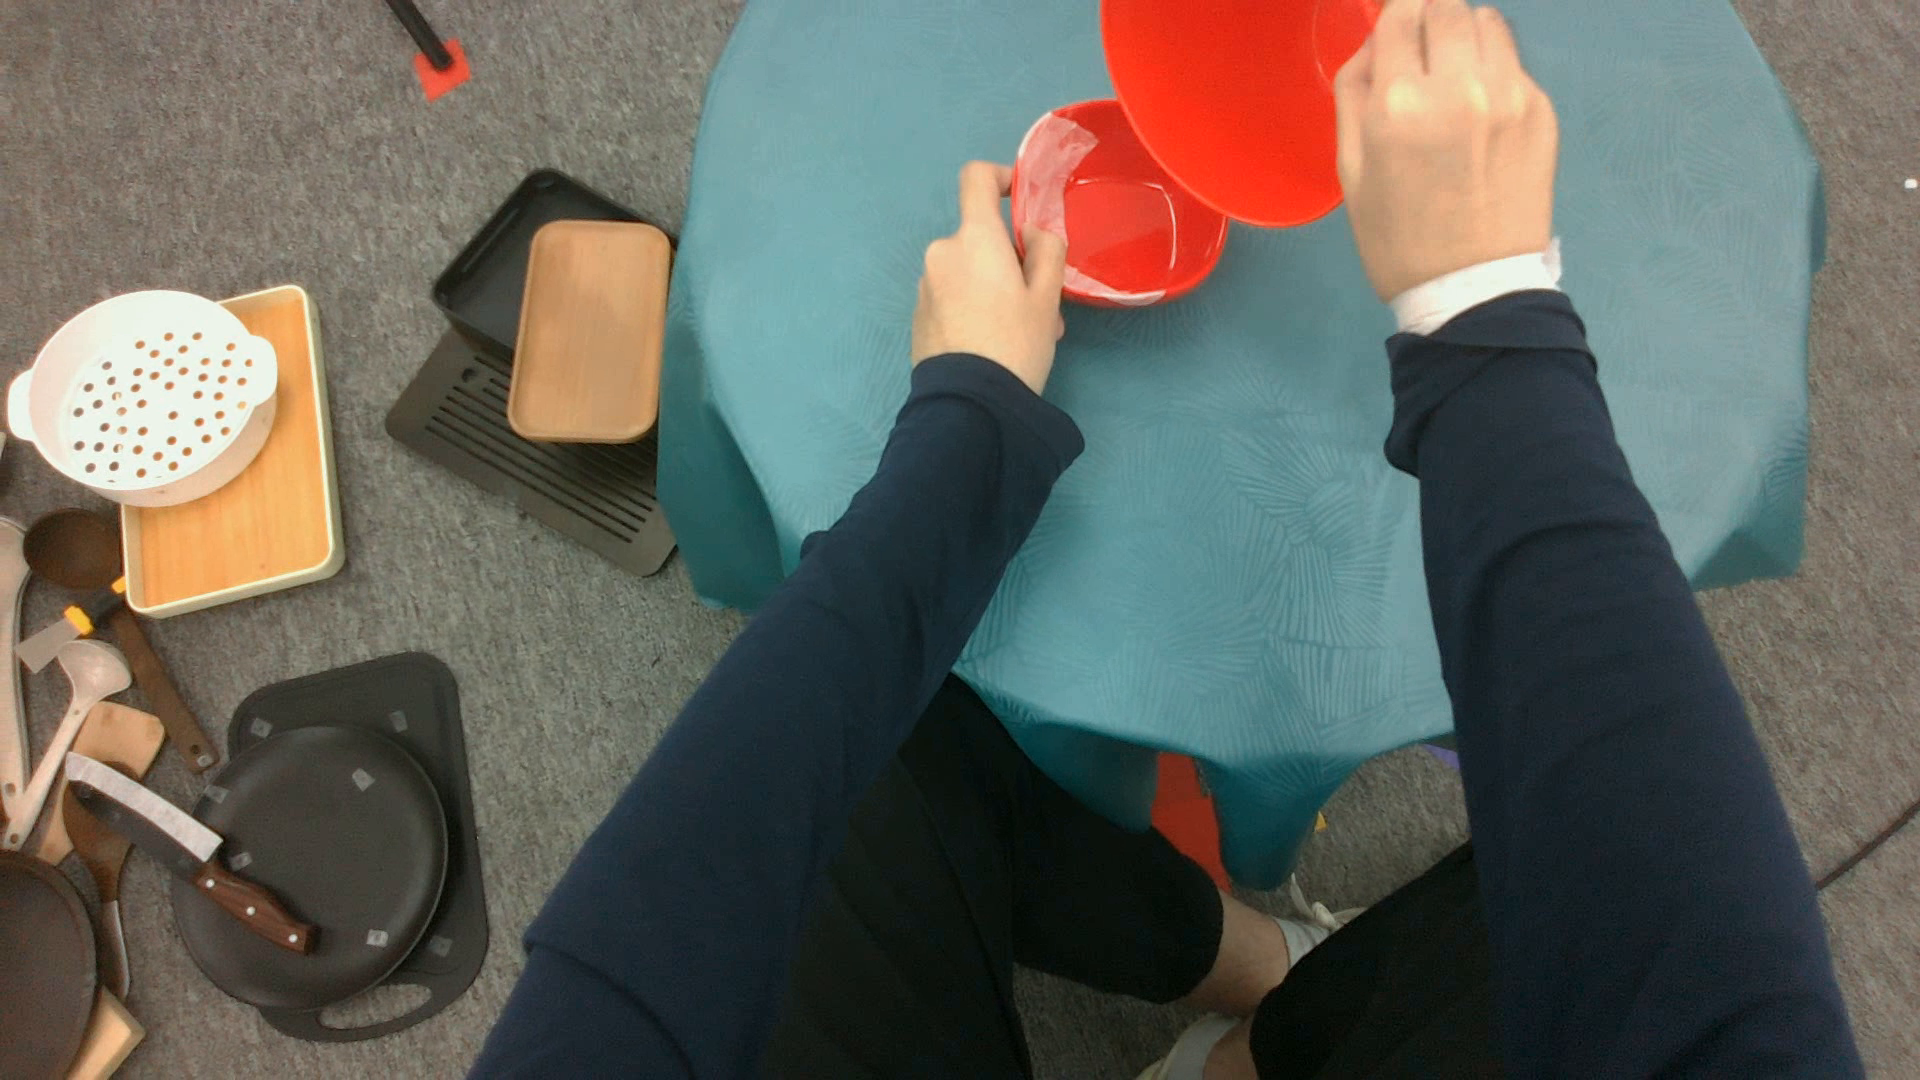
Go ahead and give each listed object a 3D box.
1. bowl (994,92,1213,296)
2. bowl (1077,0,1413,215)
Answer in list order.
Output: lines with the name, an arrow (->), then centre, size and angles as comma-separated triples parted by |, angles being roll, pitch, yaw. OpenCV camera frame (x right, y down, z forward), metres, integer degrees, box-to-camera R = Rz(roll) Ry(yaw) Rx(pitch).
bowl -> 0.072, -0.171, 0.715 | 0.119, 0.051, 0.119 | 0, 74, 0
bowl -> 0.137, -0.225, 0.608 | 0.105, 0.147, 0.148 | -32, 75, -26
